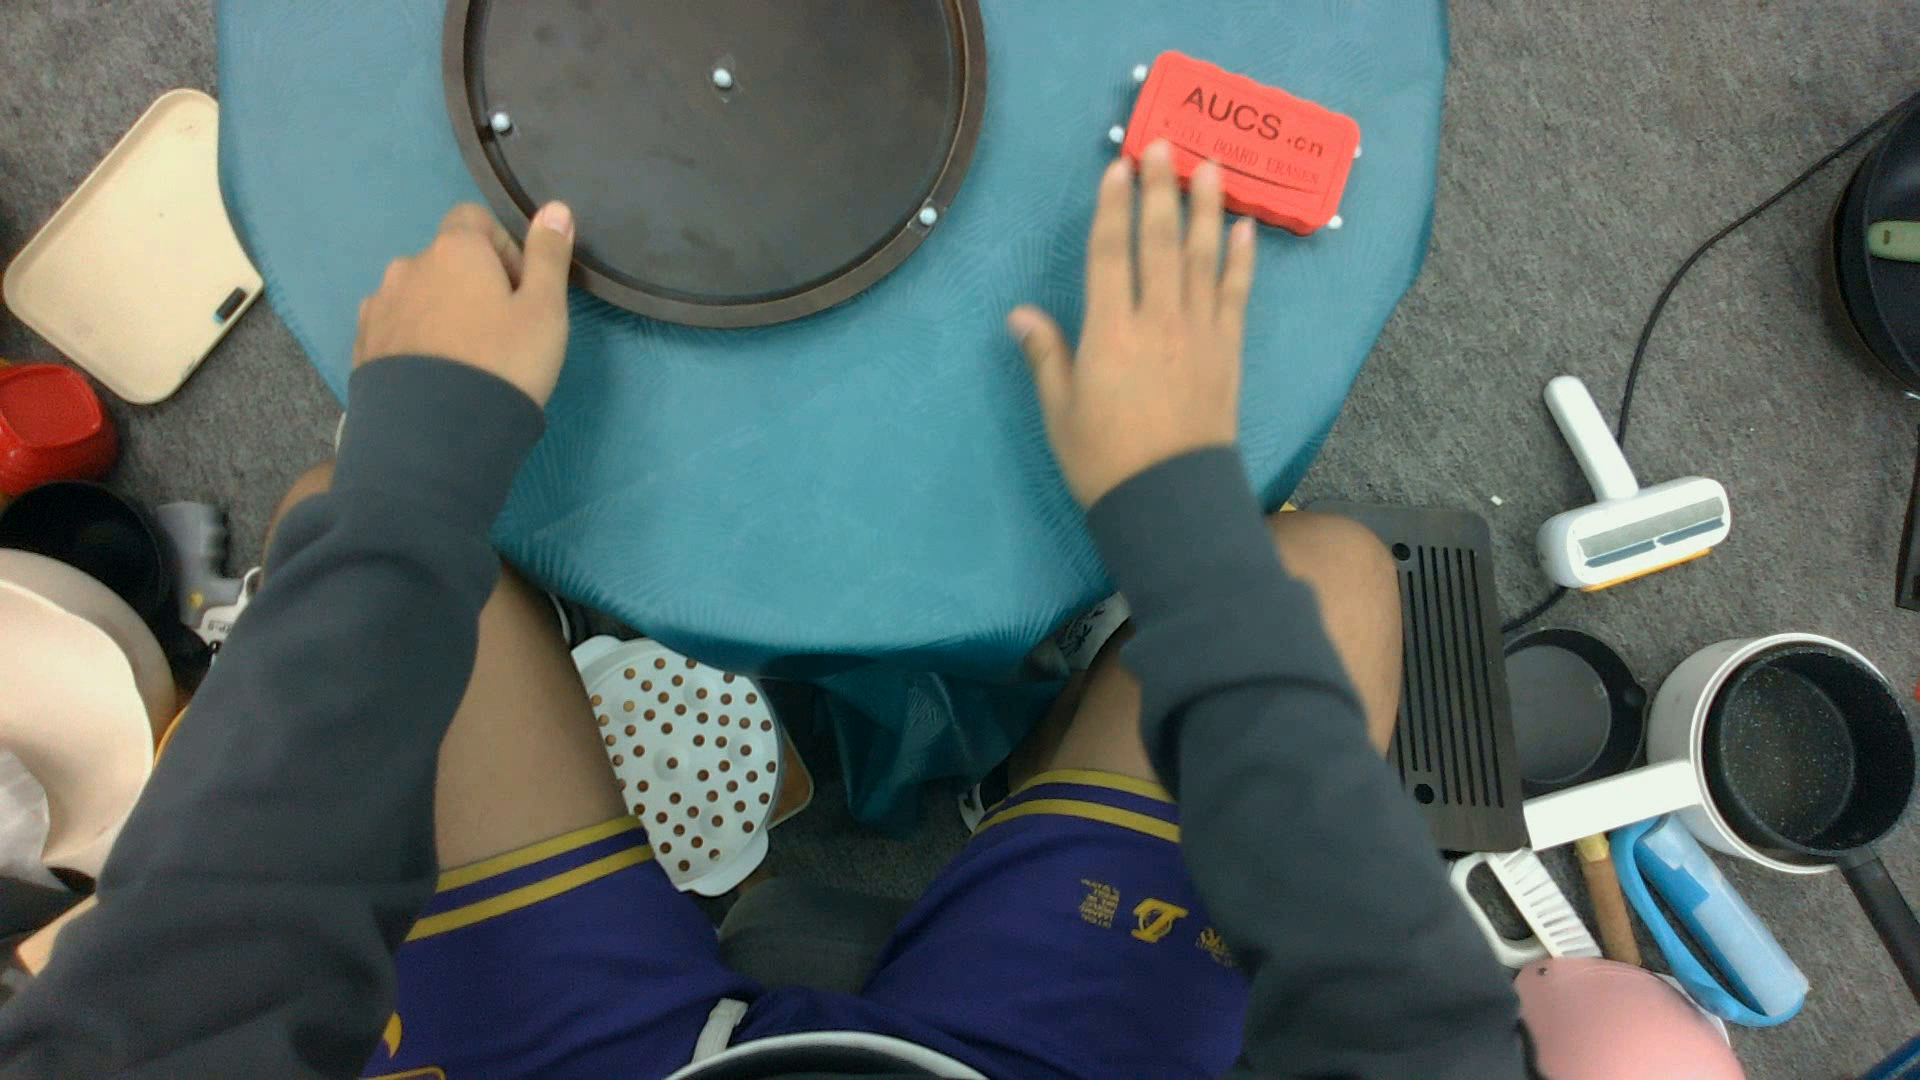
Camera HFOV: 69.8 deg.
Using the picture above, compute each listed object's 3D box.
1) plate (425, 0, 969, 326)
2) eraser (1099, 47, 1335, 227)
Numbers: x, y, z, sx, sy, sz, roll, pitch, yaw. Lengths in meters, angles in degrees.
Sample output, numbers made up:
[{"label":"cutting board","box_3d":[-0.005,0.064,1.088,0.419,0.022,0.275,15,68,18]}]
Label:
[{"label":"plate","box_3d":[-0.123,-0.225,0.658,0.255,0.029,0.255,1,85,-8]},{"label":"eraser","box_3d":[0.127,-0.198,0.680,0.108,0.023,0.059,18,84,-6]}]
